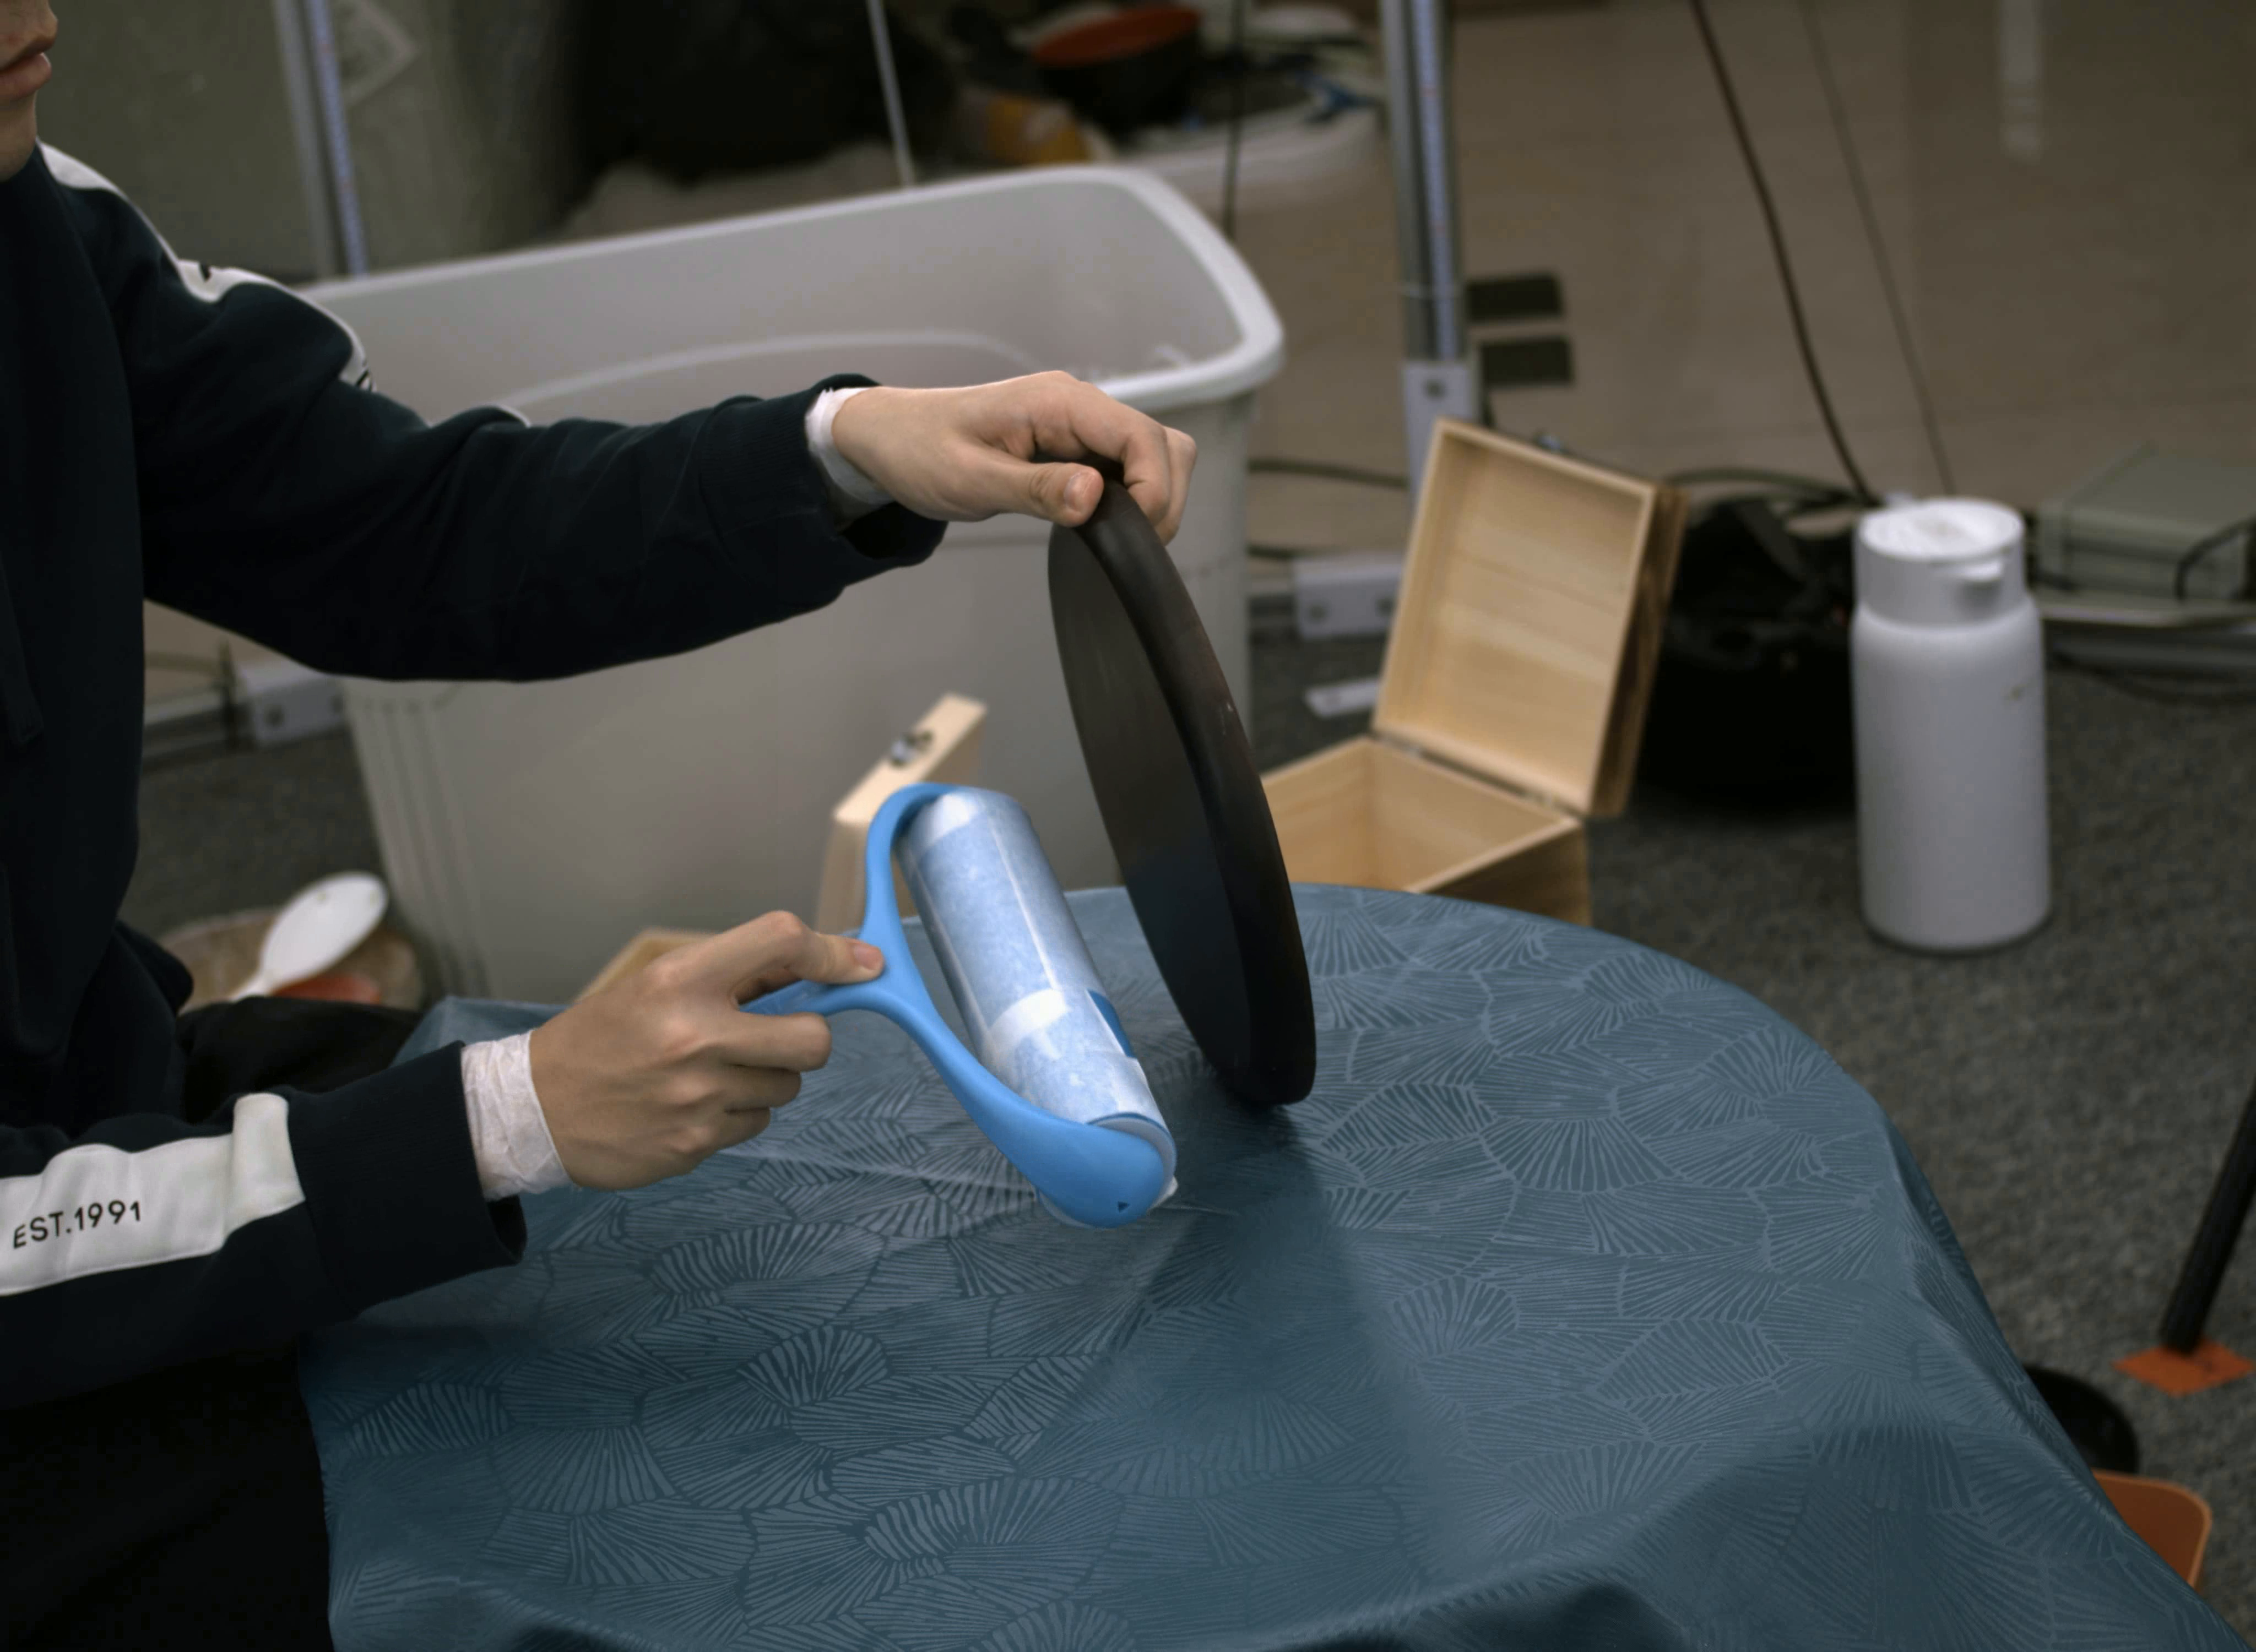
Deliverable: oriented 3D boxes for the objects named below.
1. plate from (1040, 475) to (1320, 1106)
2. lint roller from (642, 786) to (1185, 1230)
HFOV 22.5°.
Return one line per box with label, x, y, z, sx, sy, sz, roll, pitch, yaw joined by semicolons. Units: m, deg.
plate;0.018;-0.011;2.162;0.029;0.259;0.251;-18;27;-11
lint roller;-0.089;0.076;2.068;0.180;0.069;0.225;-12;43;-16
